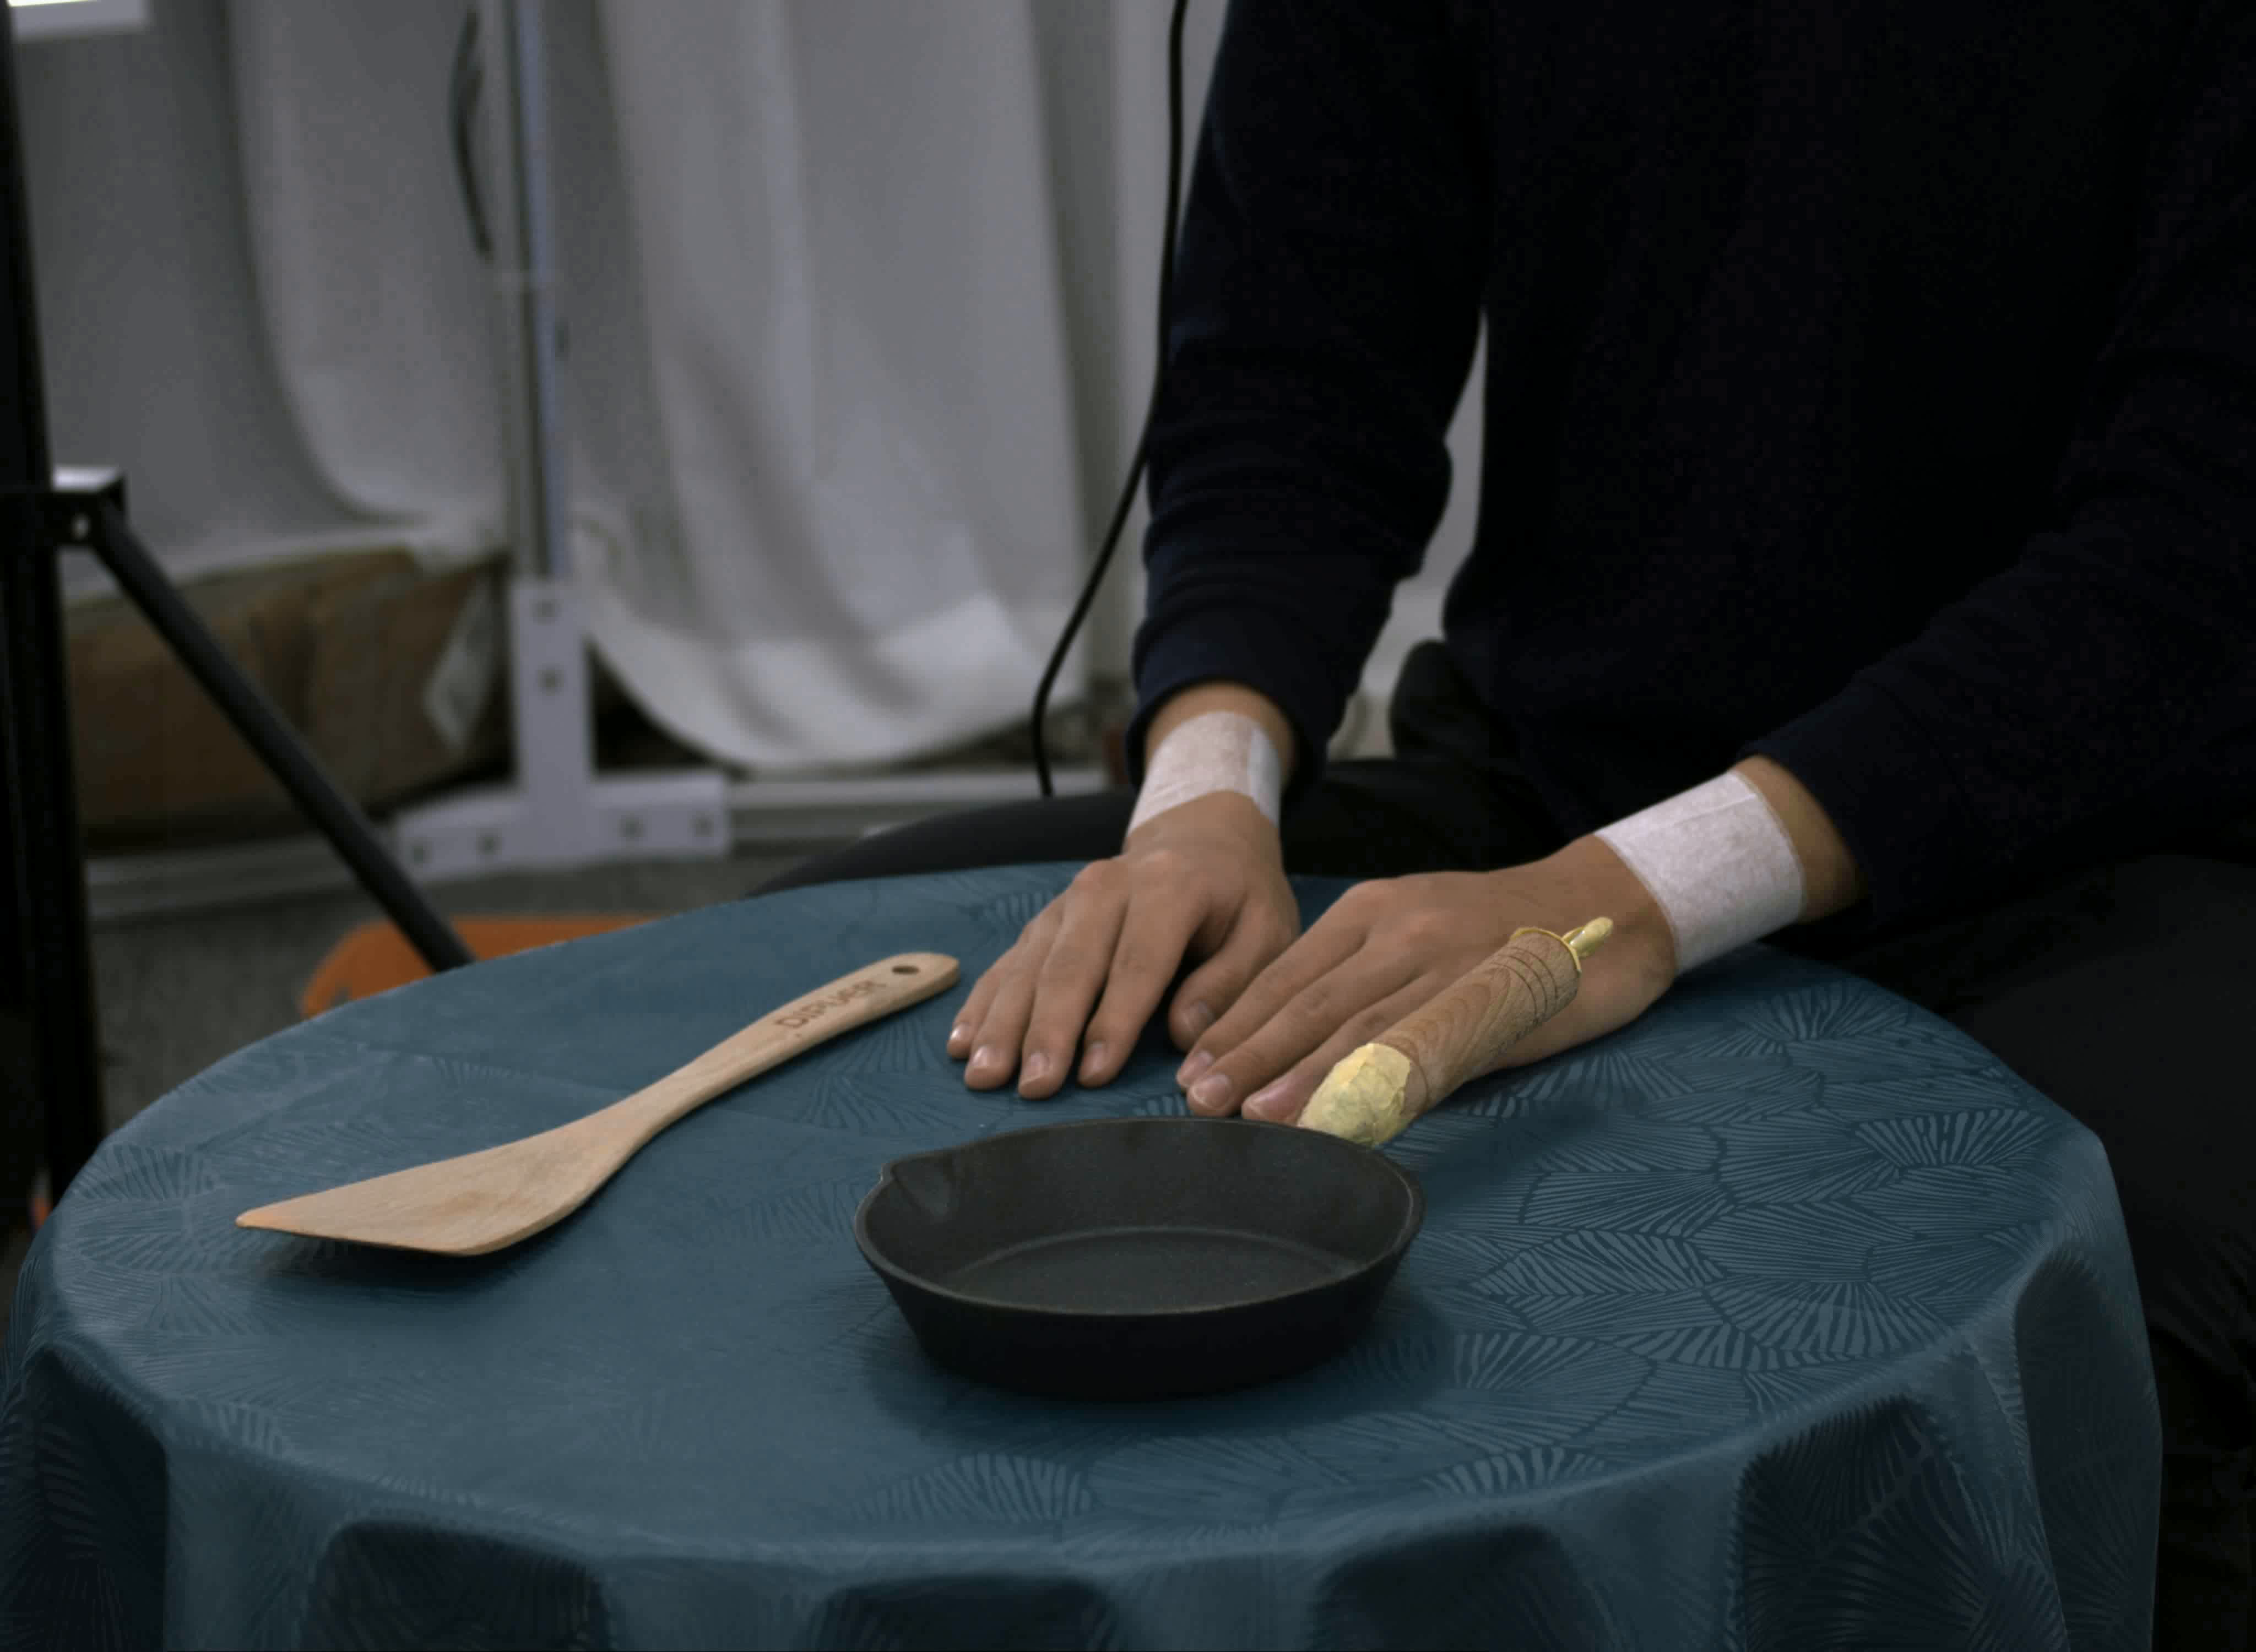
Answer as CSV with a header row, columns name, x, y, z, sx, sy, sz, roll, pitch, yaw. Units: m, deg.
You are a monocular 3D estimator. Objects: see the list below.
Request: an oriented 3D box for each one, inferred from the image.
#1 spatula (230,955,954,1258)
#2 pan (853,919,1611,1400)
name,x,y,z,sx,sy,sz,roll,pitch,yaw
spatula,-0.145,0.083,1.641,0.081,0.016,0.321,8,19,30
pan,0.053,0.091,1.515,0.172,0.049,0.317,9,21,36
